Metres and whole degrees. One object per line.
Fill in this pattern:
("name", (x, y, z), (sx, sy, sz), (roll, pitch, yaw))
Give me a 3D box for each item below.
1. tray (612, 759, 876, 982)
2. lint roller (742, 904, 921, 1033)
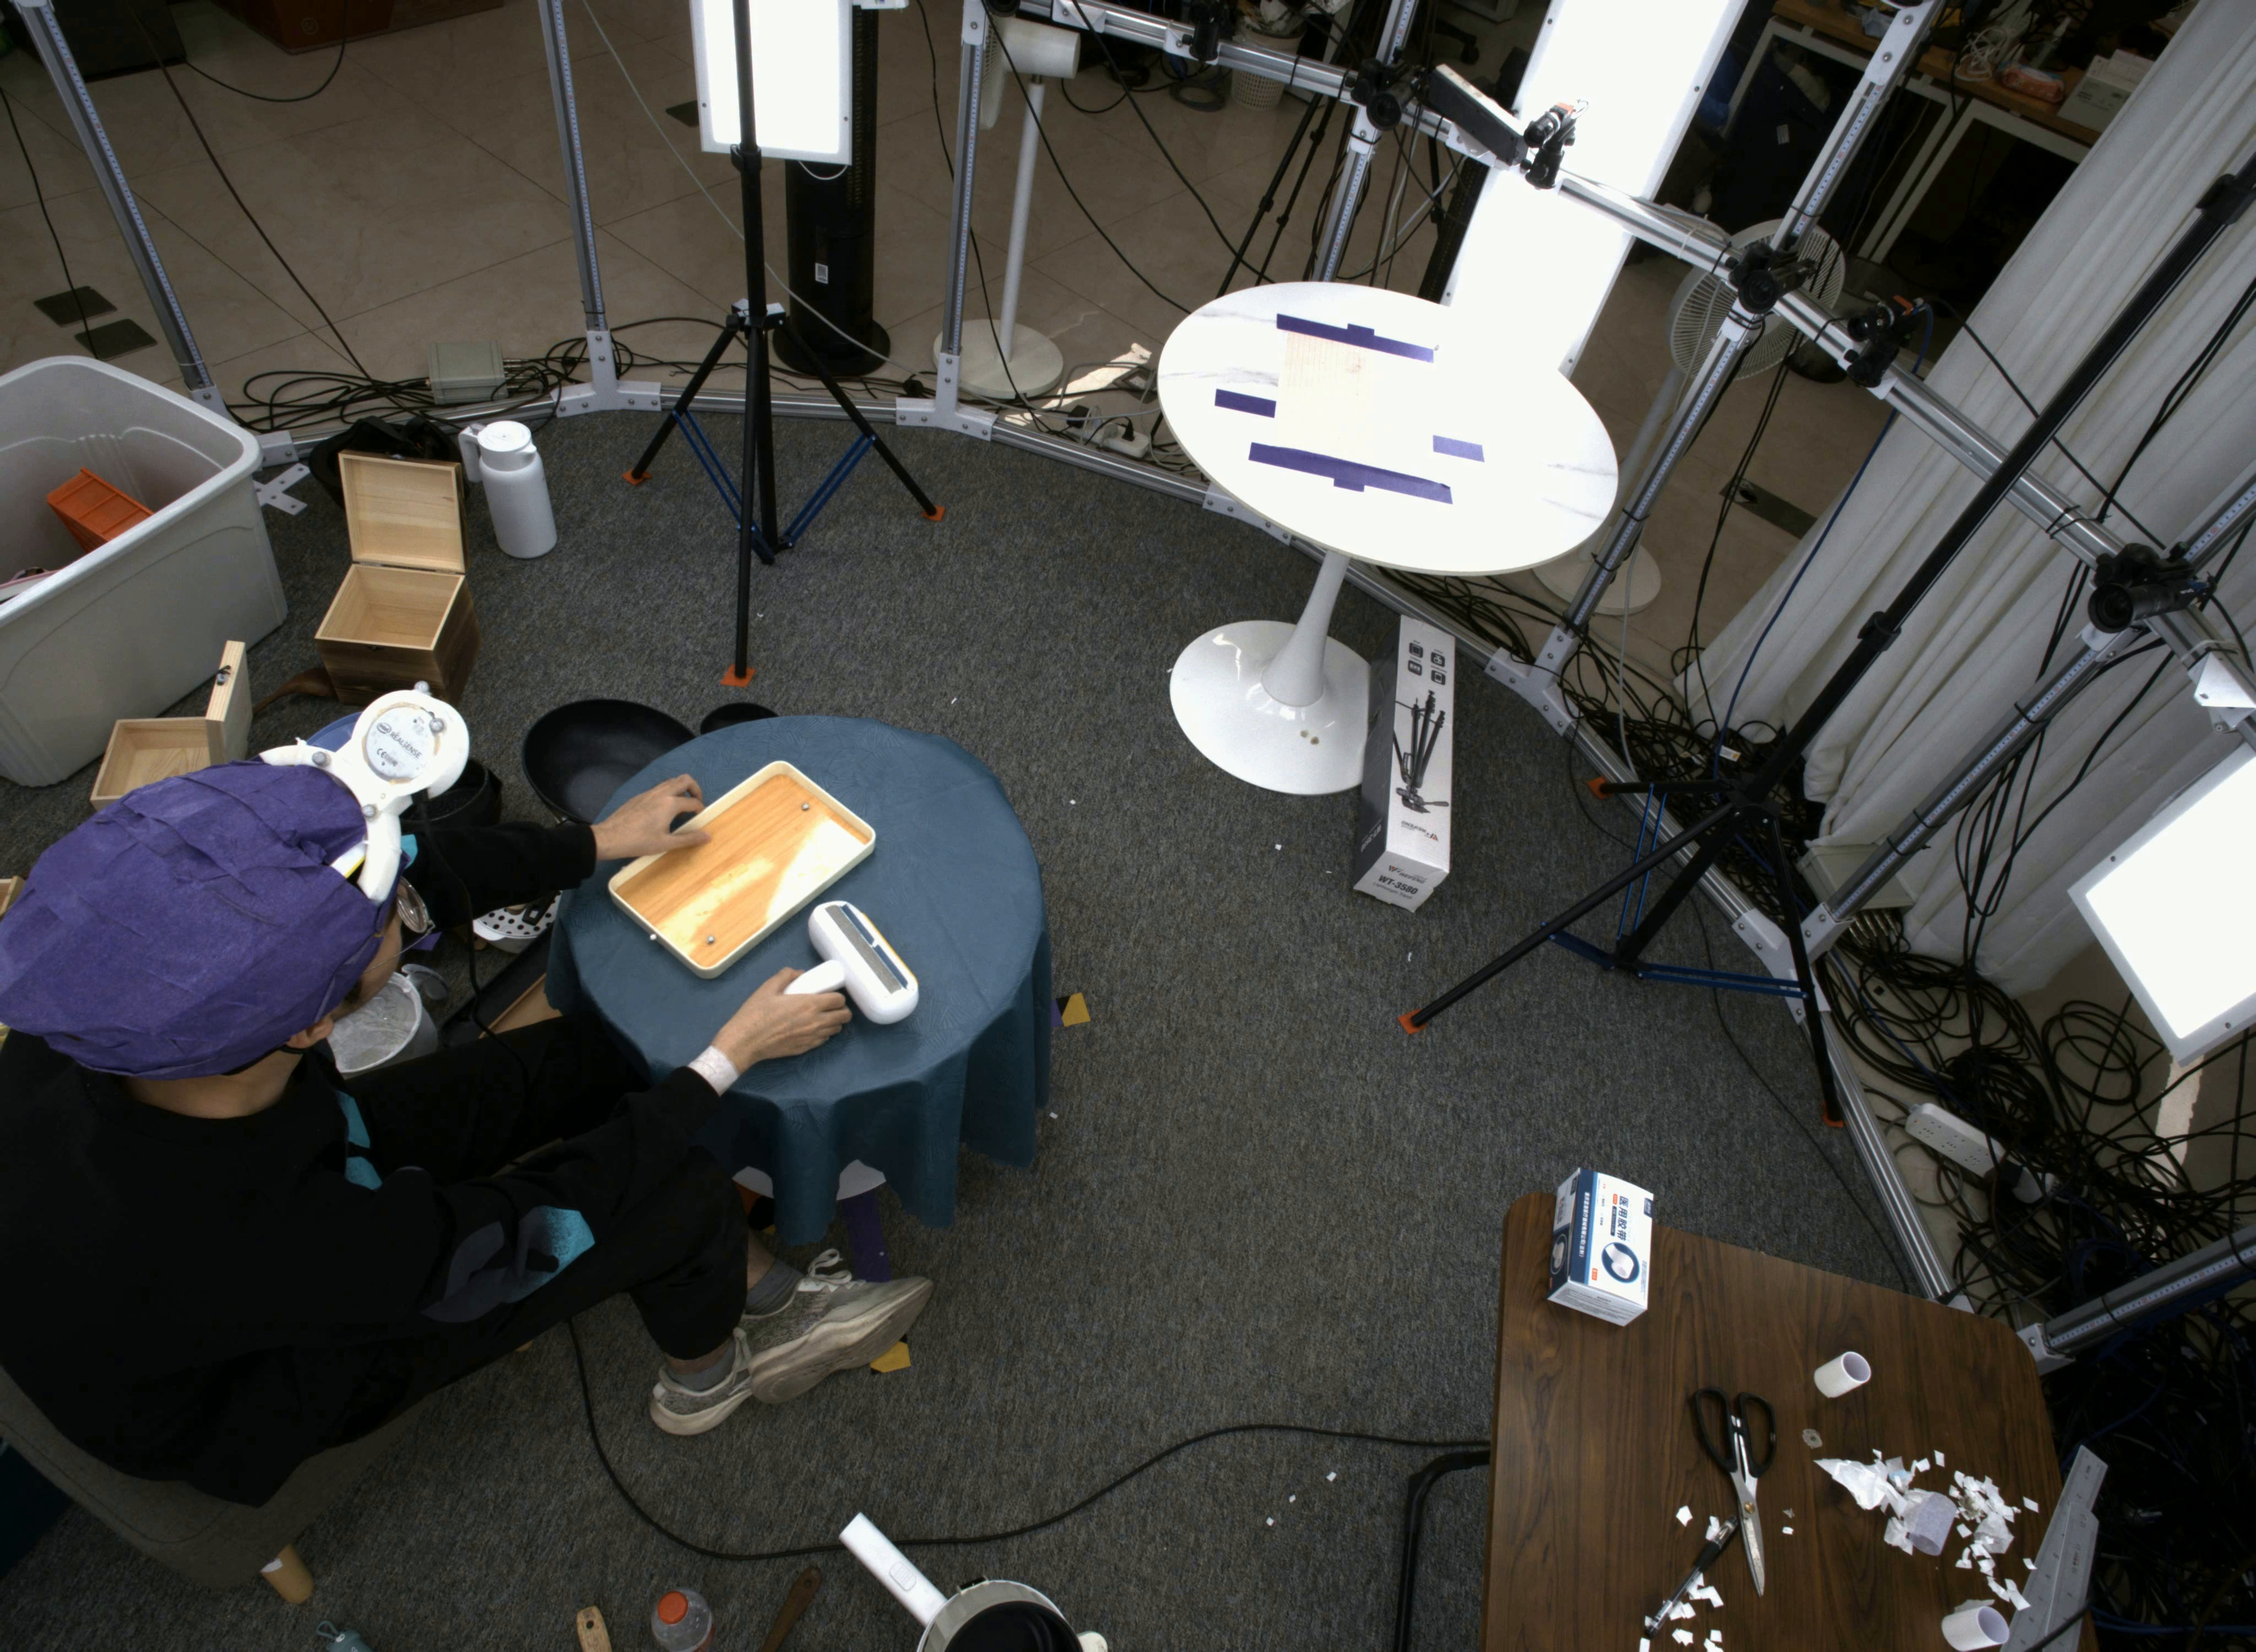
("tray", (-0.490, 0.048, 1.659), (0.188, 0.028, 0.300), (38, 54, 12))
("lint roller", (-0.368, 0.187, 1.553), (0.194, 0.076, 0.187), (-18, 53, -32))
